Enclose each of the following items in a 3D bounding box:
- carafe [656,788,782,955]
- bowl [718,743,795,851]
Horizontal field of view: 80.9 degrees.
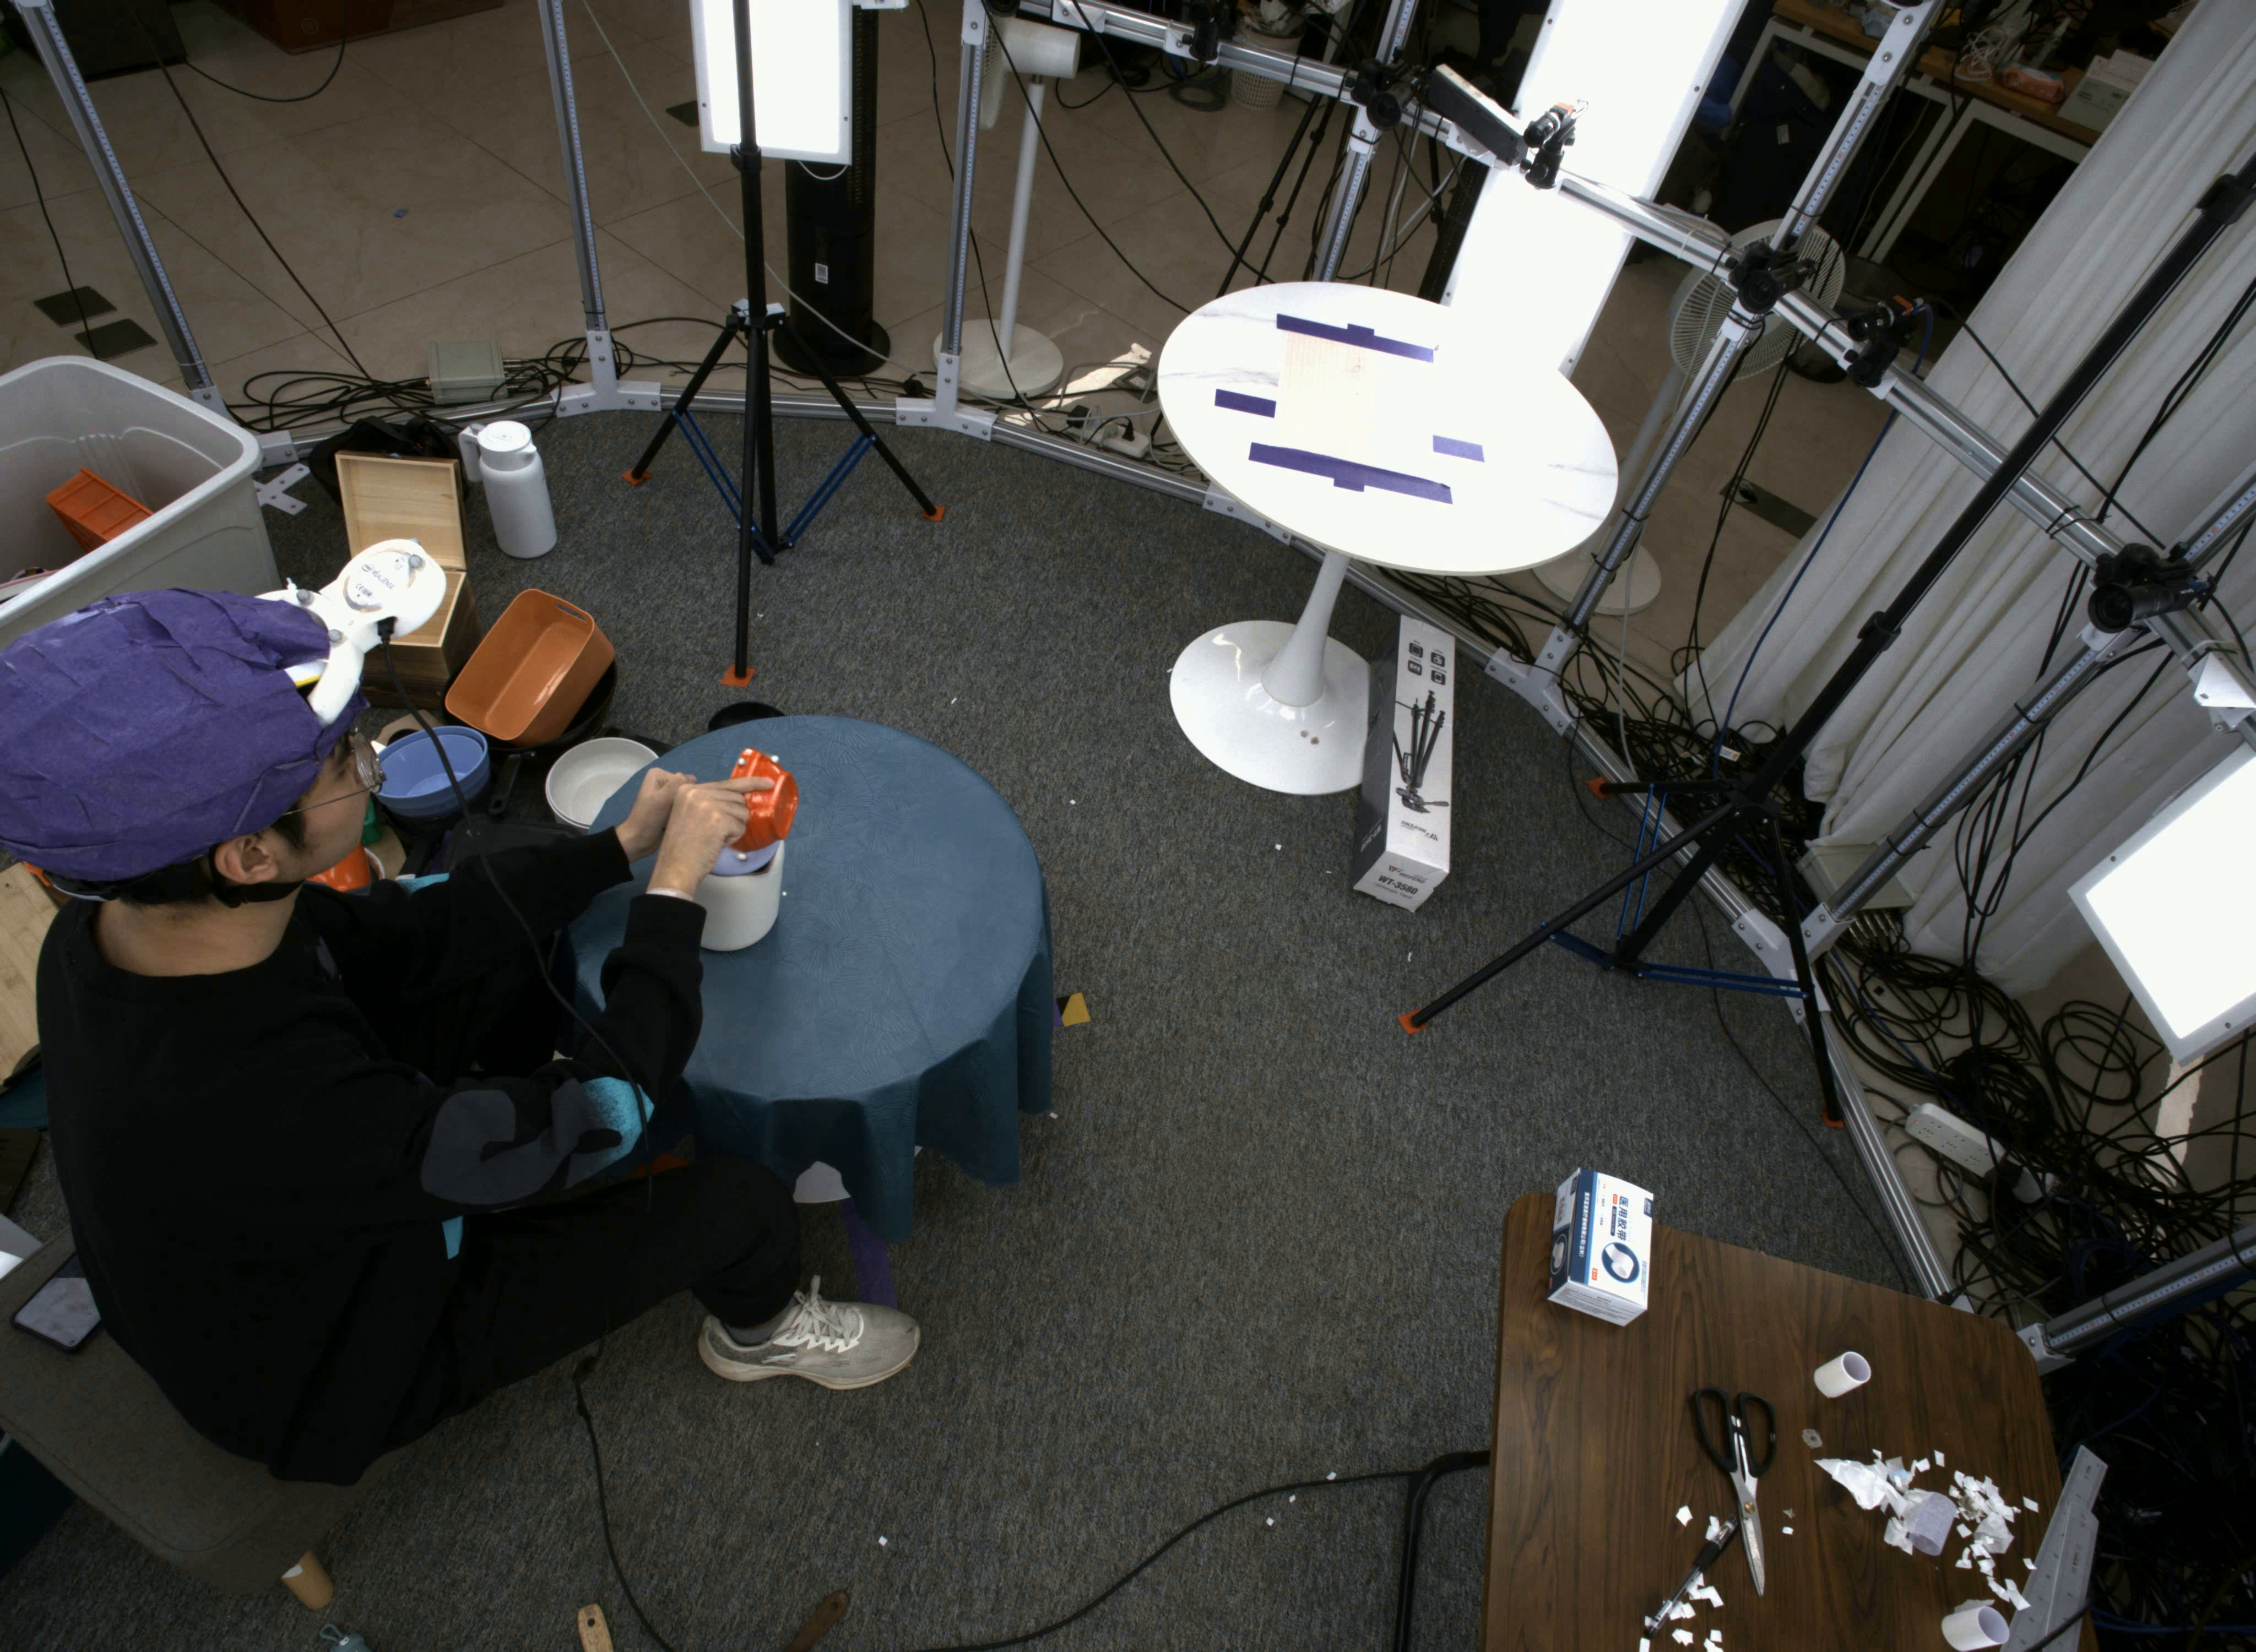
[{"bbox_3d":[-0.503,0.040,1.561,0.188,0.186,0.132,38,51,13],"label":"carafe"},{"bbox_3d":[-0.403,-0.028,1.419,0.051,0.122,0.117,11,51,3],"label":"bowl"}]
